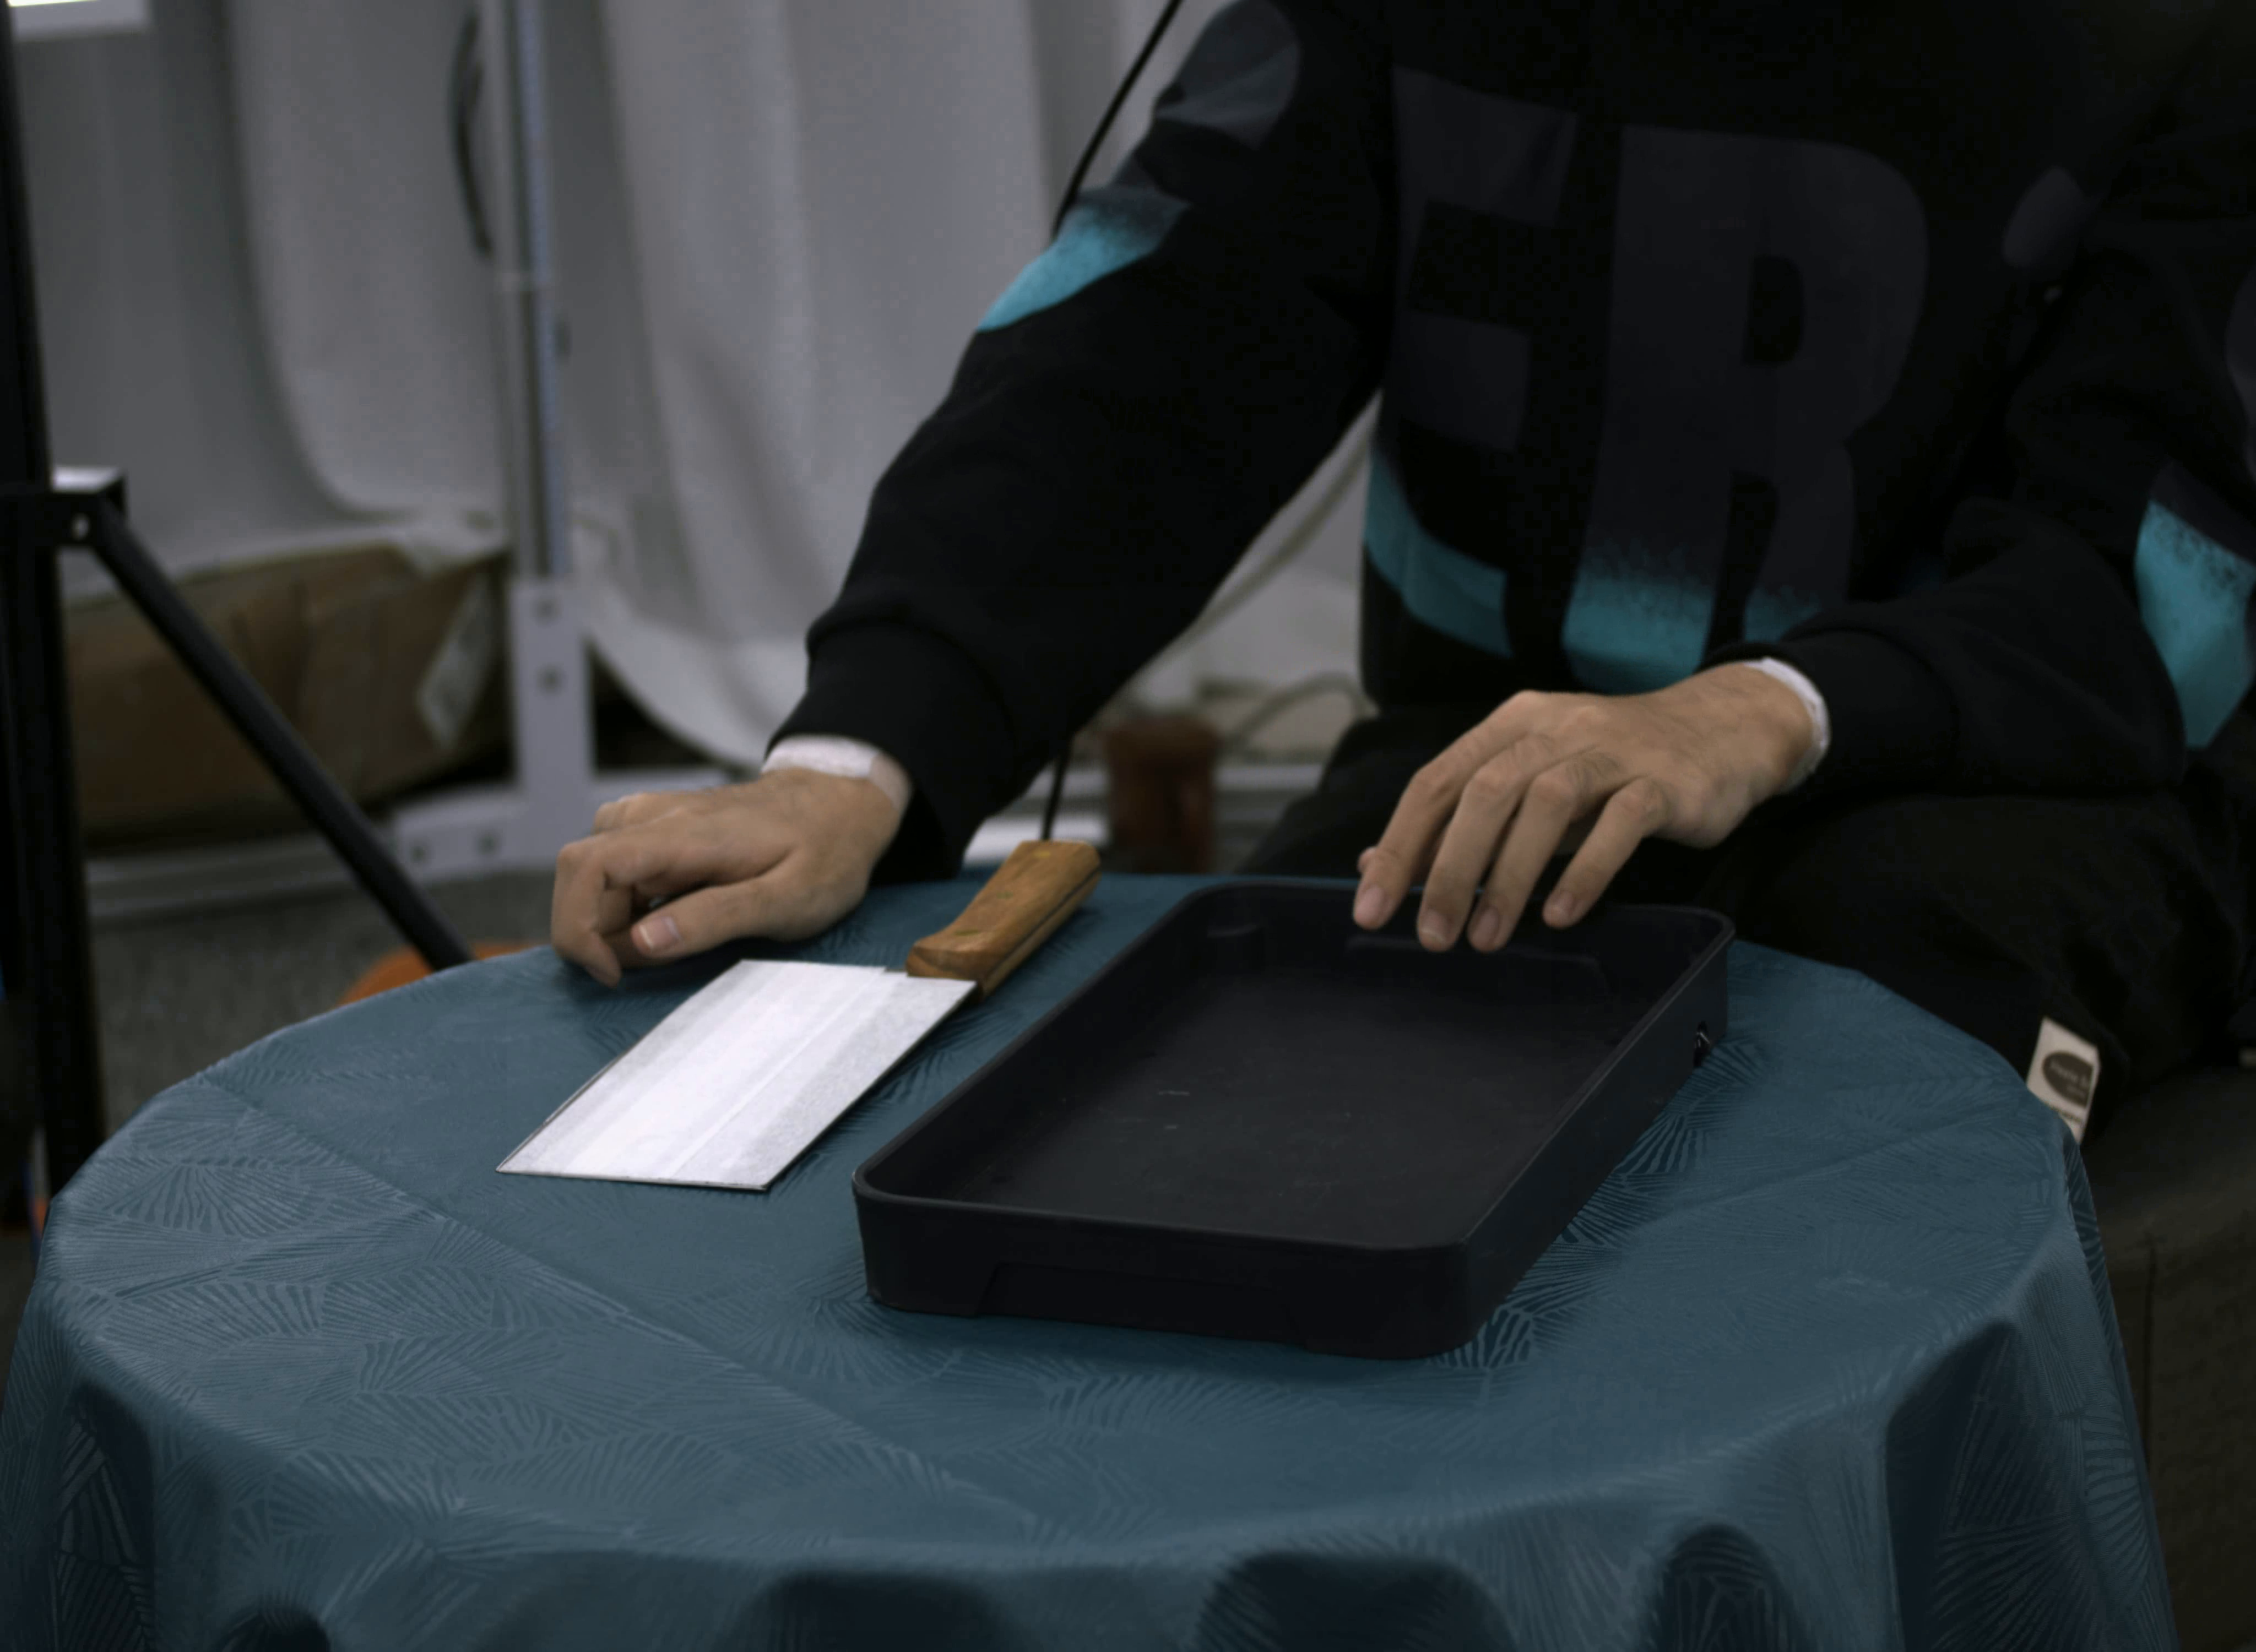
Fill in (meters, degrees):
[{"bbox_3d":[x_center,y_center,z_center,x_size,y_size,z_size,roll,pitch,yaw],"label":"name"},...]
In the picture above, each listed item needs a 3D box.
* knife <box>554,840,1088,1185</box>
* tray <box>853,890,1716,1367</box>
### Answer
[{"bbox_3d":[-0.098,0.059,1.721,0.094,0.021,0.302,1,19,20],"label":"knife"},{"bbox_3d":[0.055,0.083,1.572,0.186,0.037,0.314,3,16,19],"label":"tray"}]
